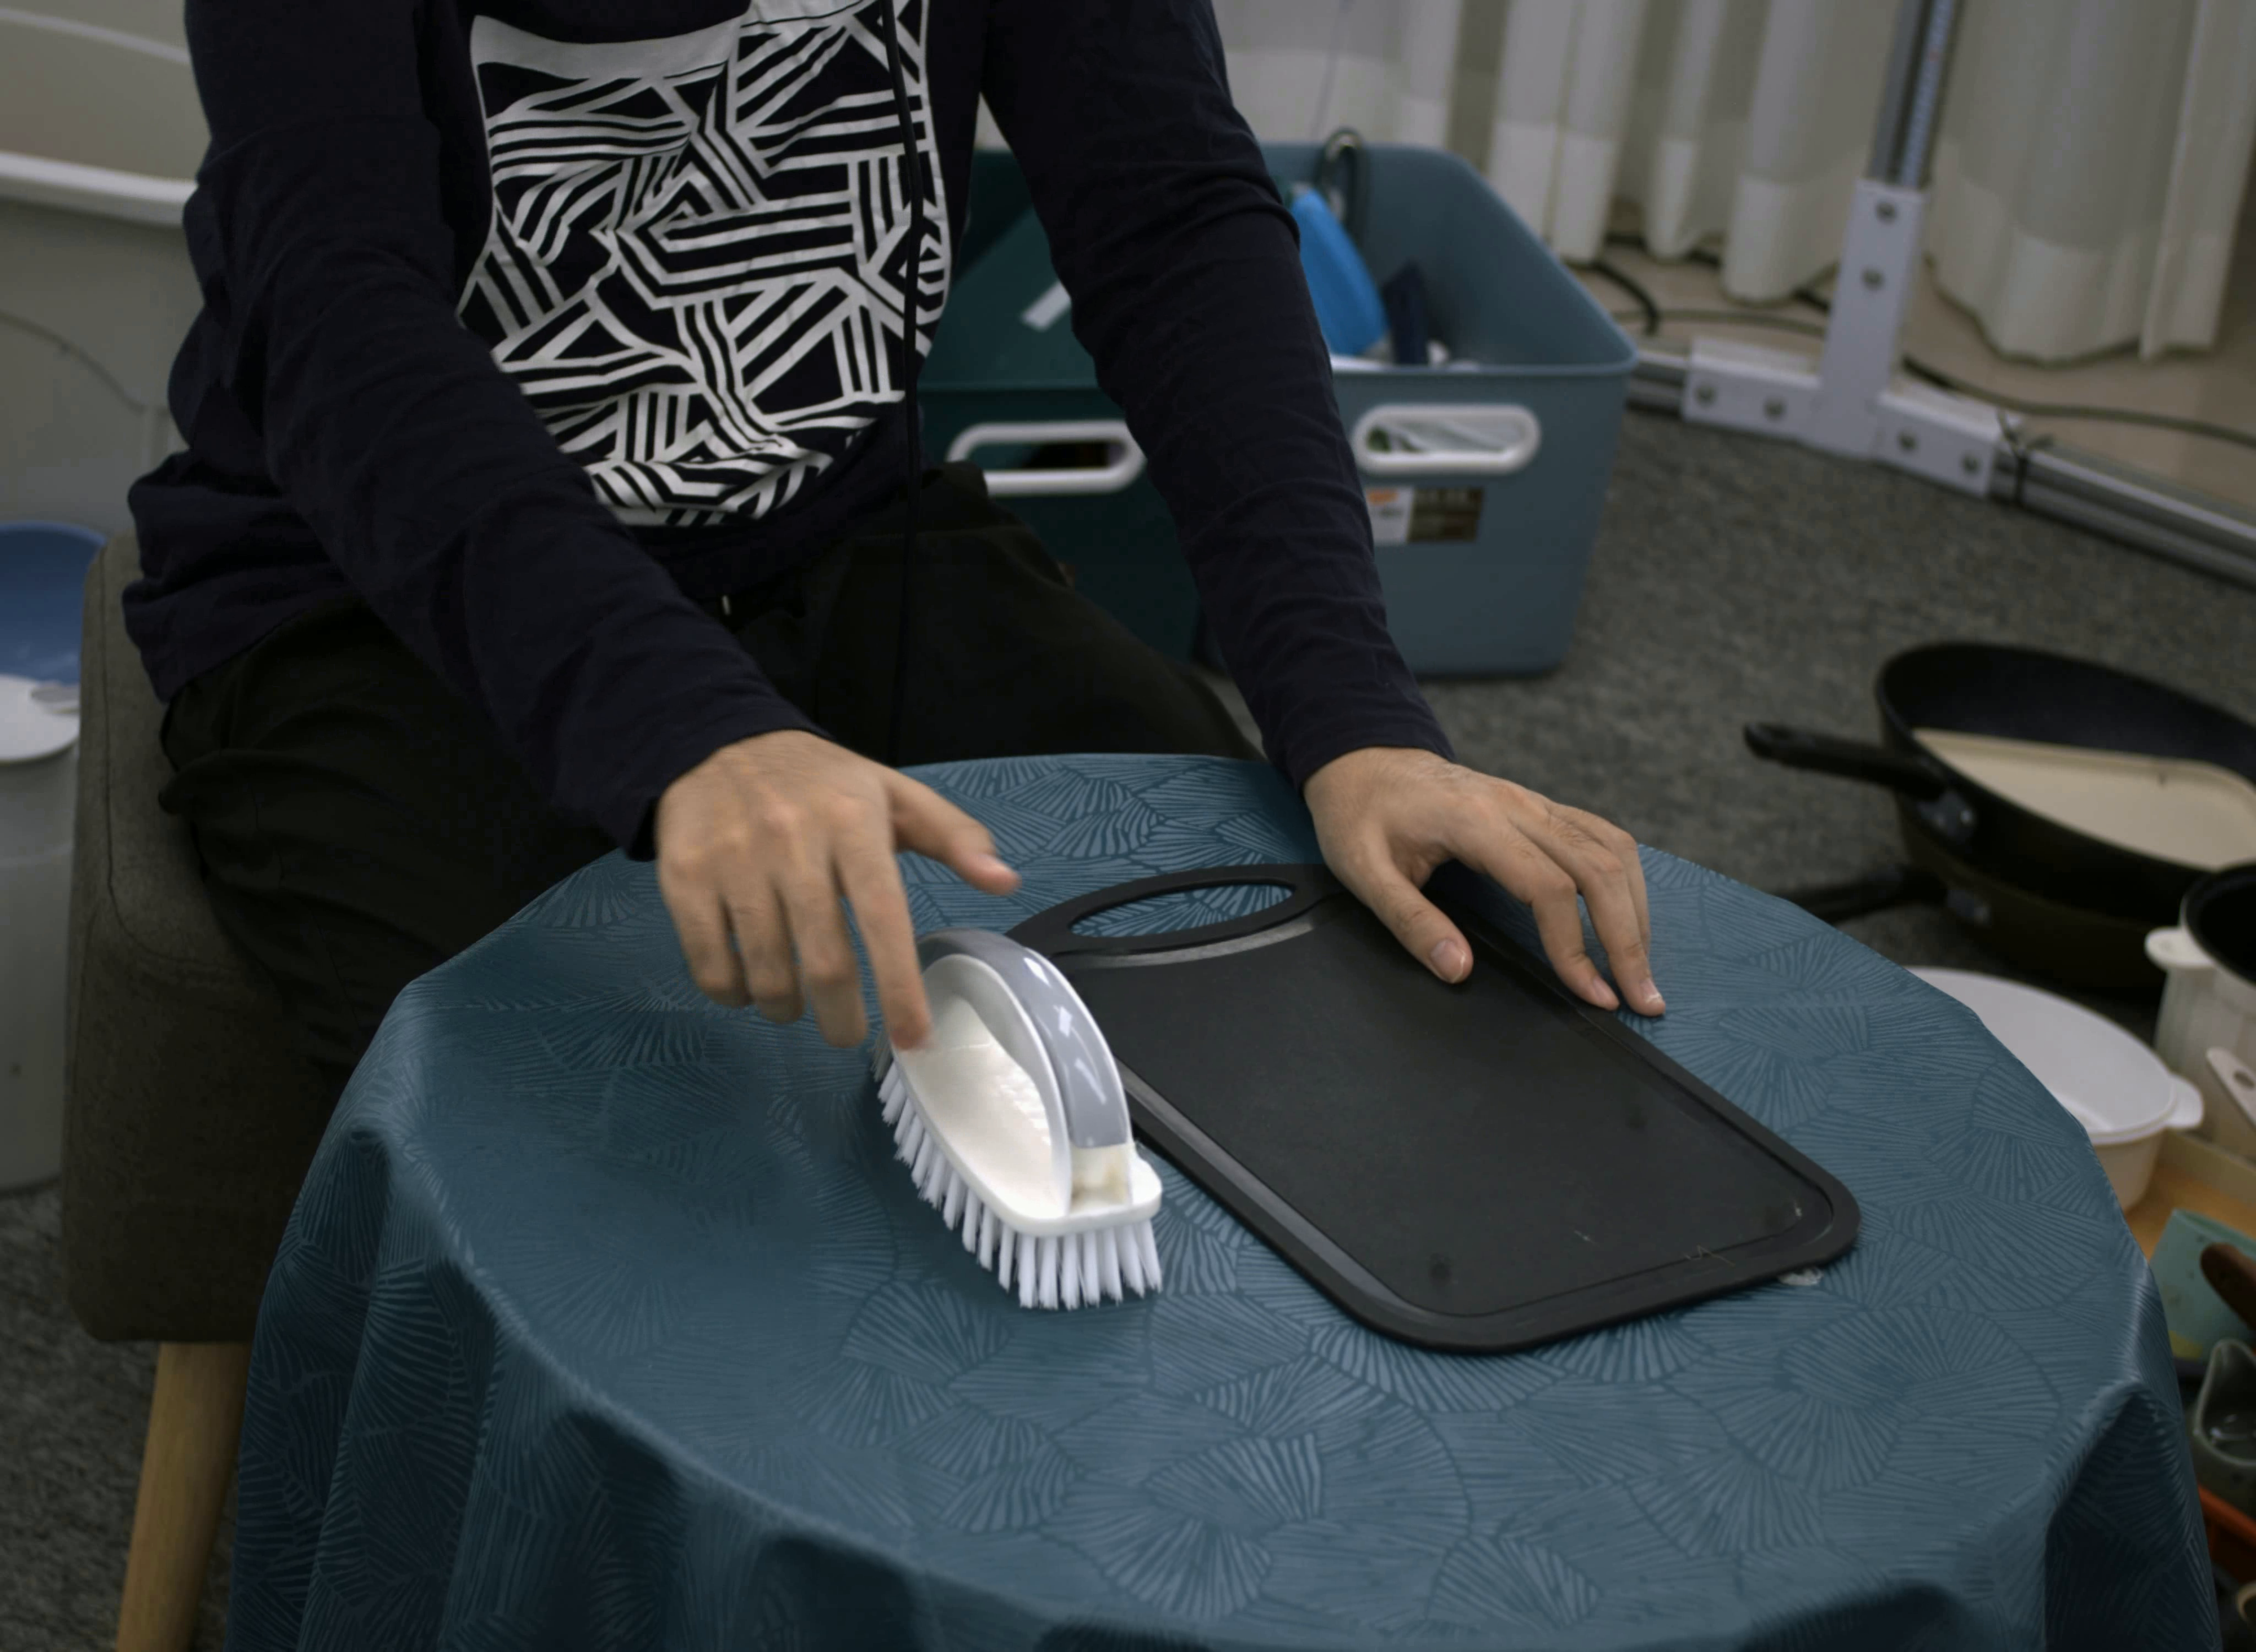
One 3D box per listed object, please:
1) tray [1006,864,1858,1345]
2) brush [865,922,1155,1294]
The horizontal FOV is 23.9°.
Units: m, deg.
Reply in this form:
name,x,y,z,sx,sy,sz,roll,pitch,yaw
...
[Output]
name,x,y,z,sx,sy,sz,roll,pitch,yaw
tray,0.095,0.089,1.887,0.210,0.010,0.328,-11,31,-30
brush,-0.046,0.079,1.783,0.061,0.094,0.177,-4,26,-26
